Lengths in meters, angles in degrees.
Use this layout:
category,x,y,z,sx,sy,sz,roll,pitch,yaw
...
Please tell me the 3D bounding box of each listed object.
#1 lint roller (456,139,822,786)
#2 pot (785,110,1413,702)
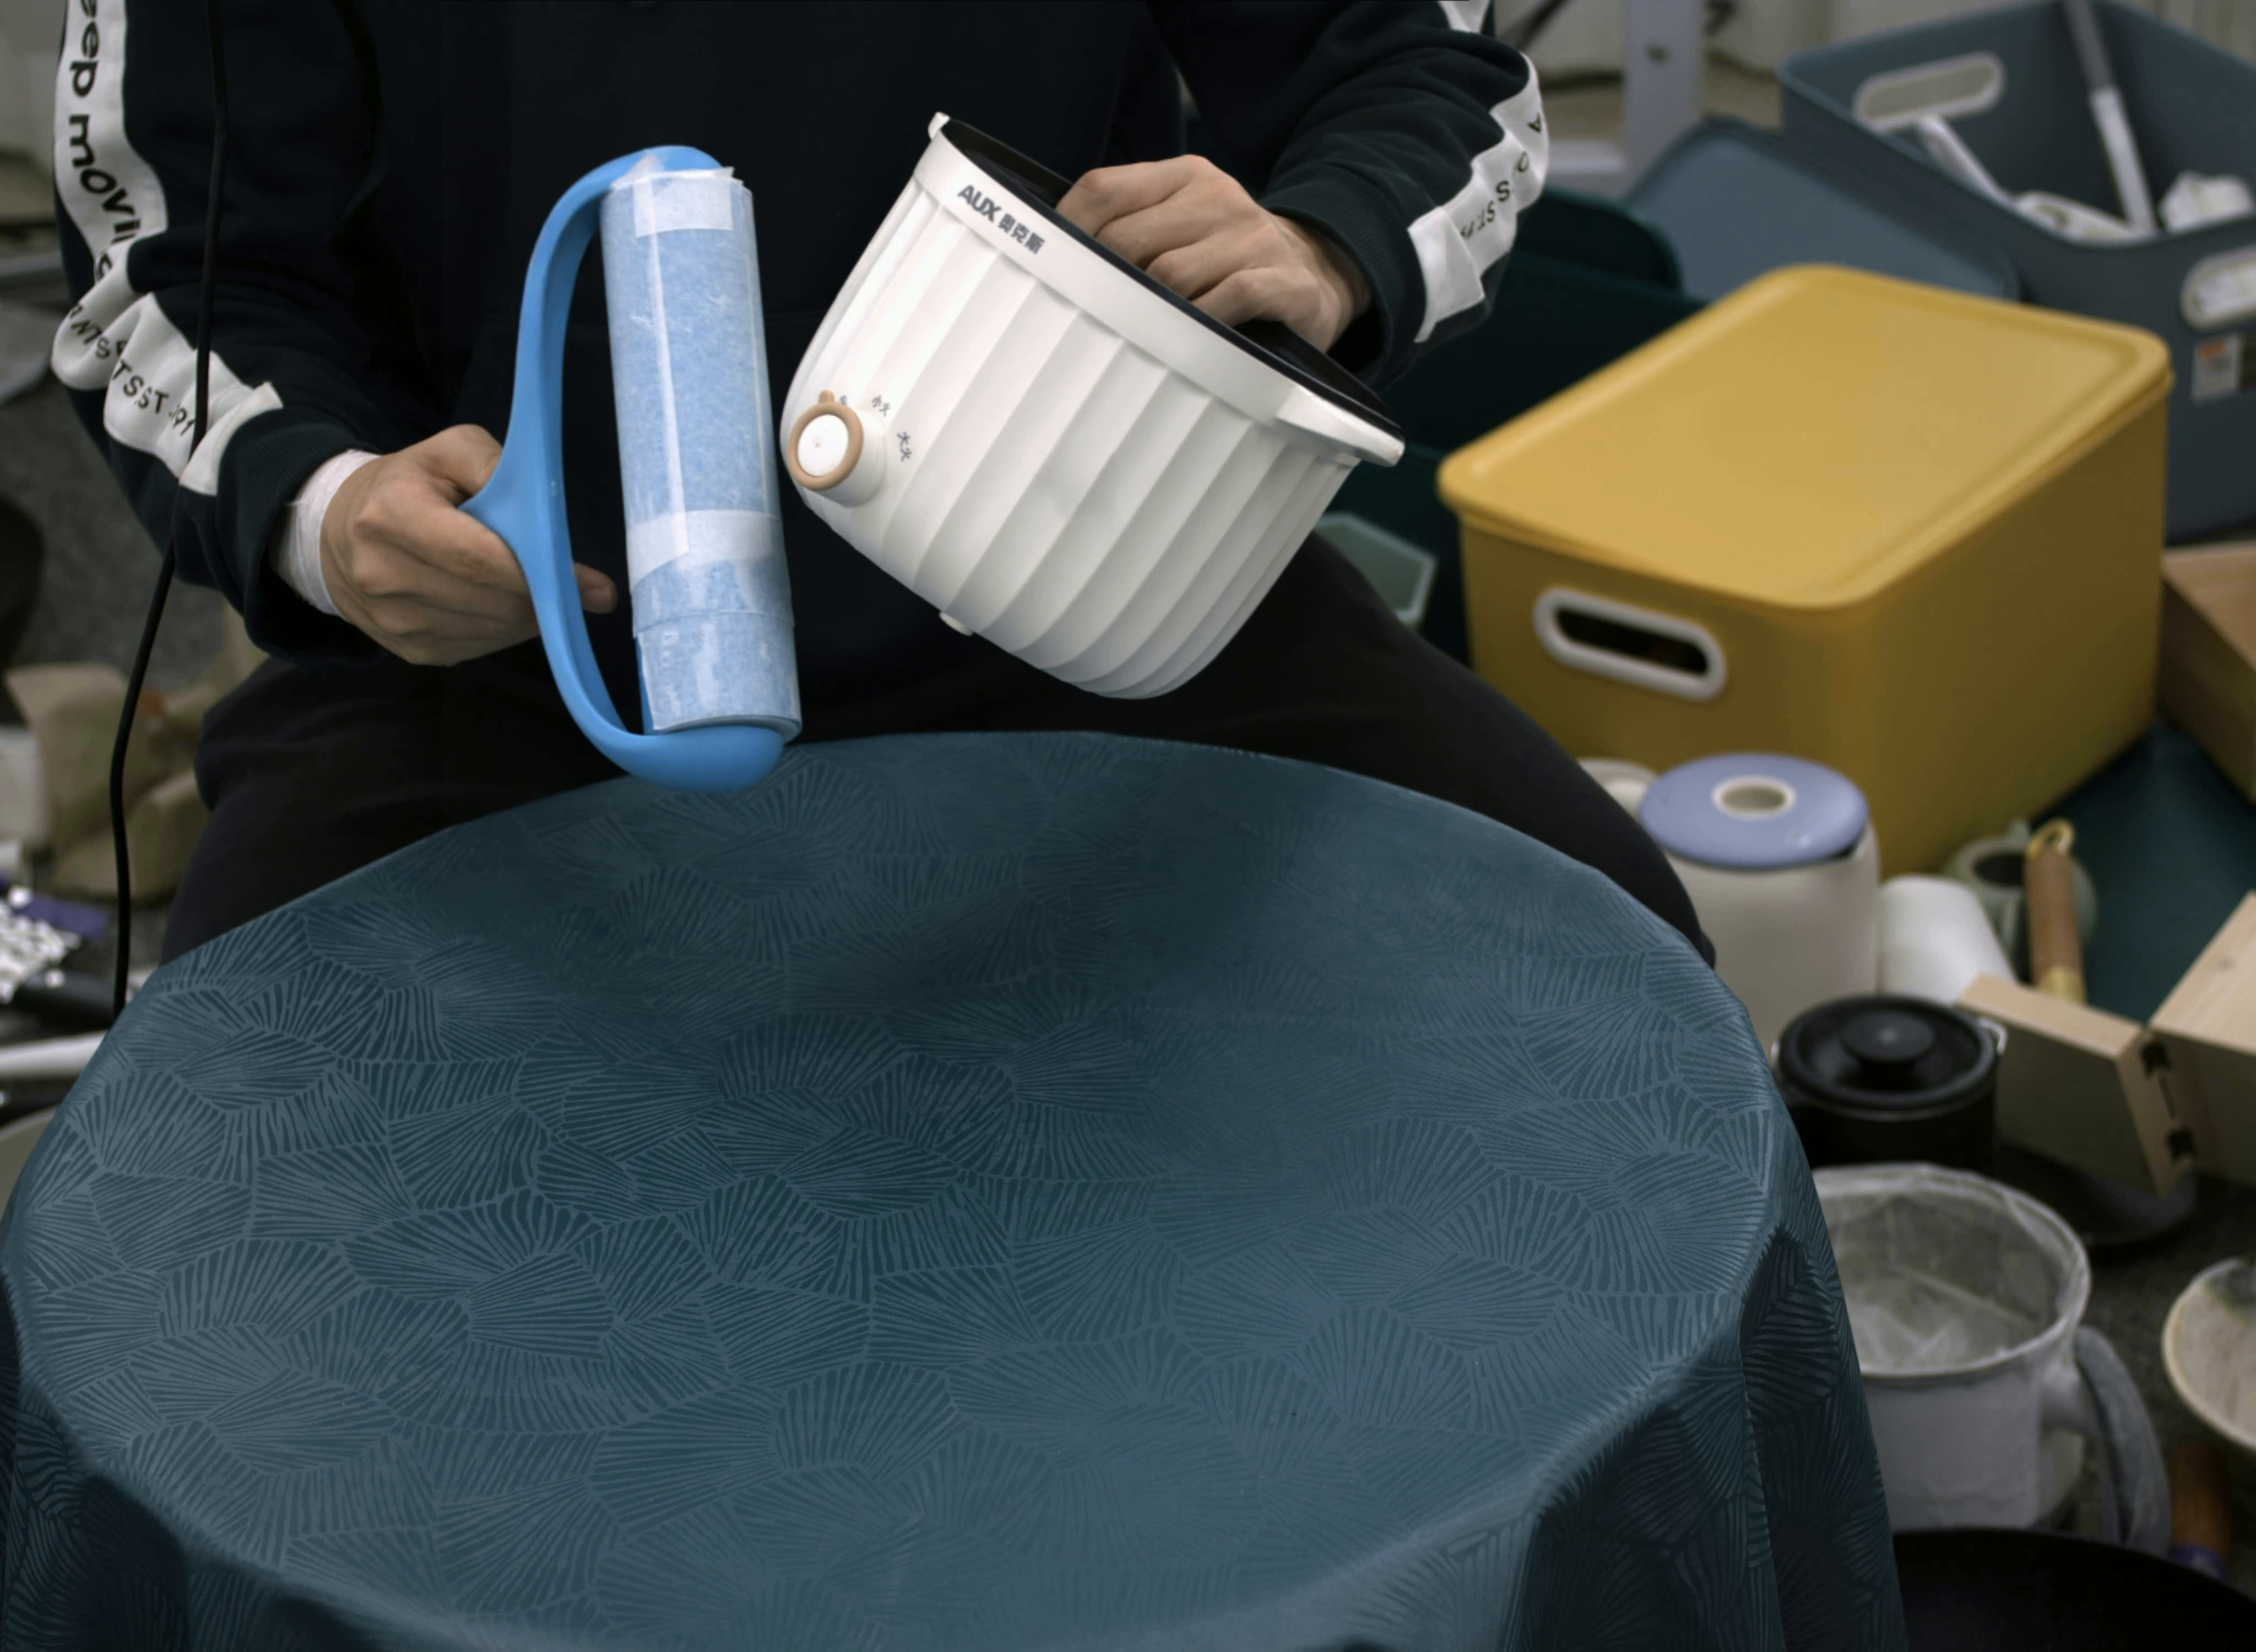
category,x,y,z,sx,sy,sz,roll,pitch,yaw
lint roller,-0.186,-0.107,1.945,0.177,0.232,0.068,-22,-21,36
pot,-0.023,-0.135,1.910,0.241,0.142,0.190,38,5,35
